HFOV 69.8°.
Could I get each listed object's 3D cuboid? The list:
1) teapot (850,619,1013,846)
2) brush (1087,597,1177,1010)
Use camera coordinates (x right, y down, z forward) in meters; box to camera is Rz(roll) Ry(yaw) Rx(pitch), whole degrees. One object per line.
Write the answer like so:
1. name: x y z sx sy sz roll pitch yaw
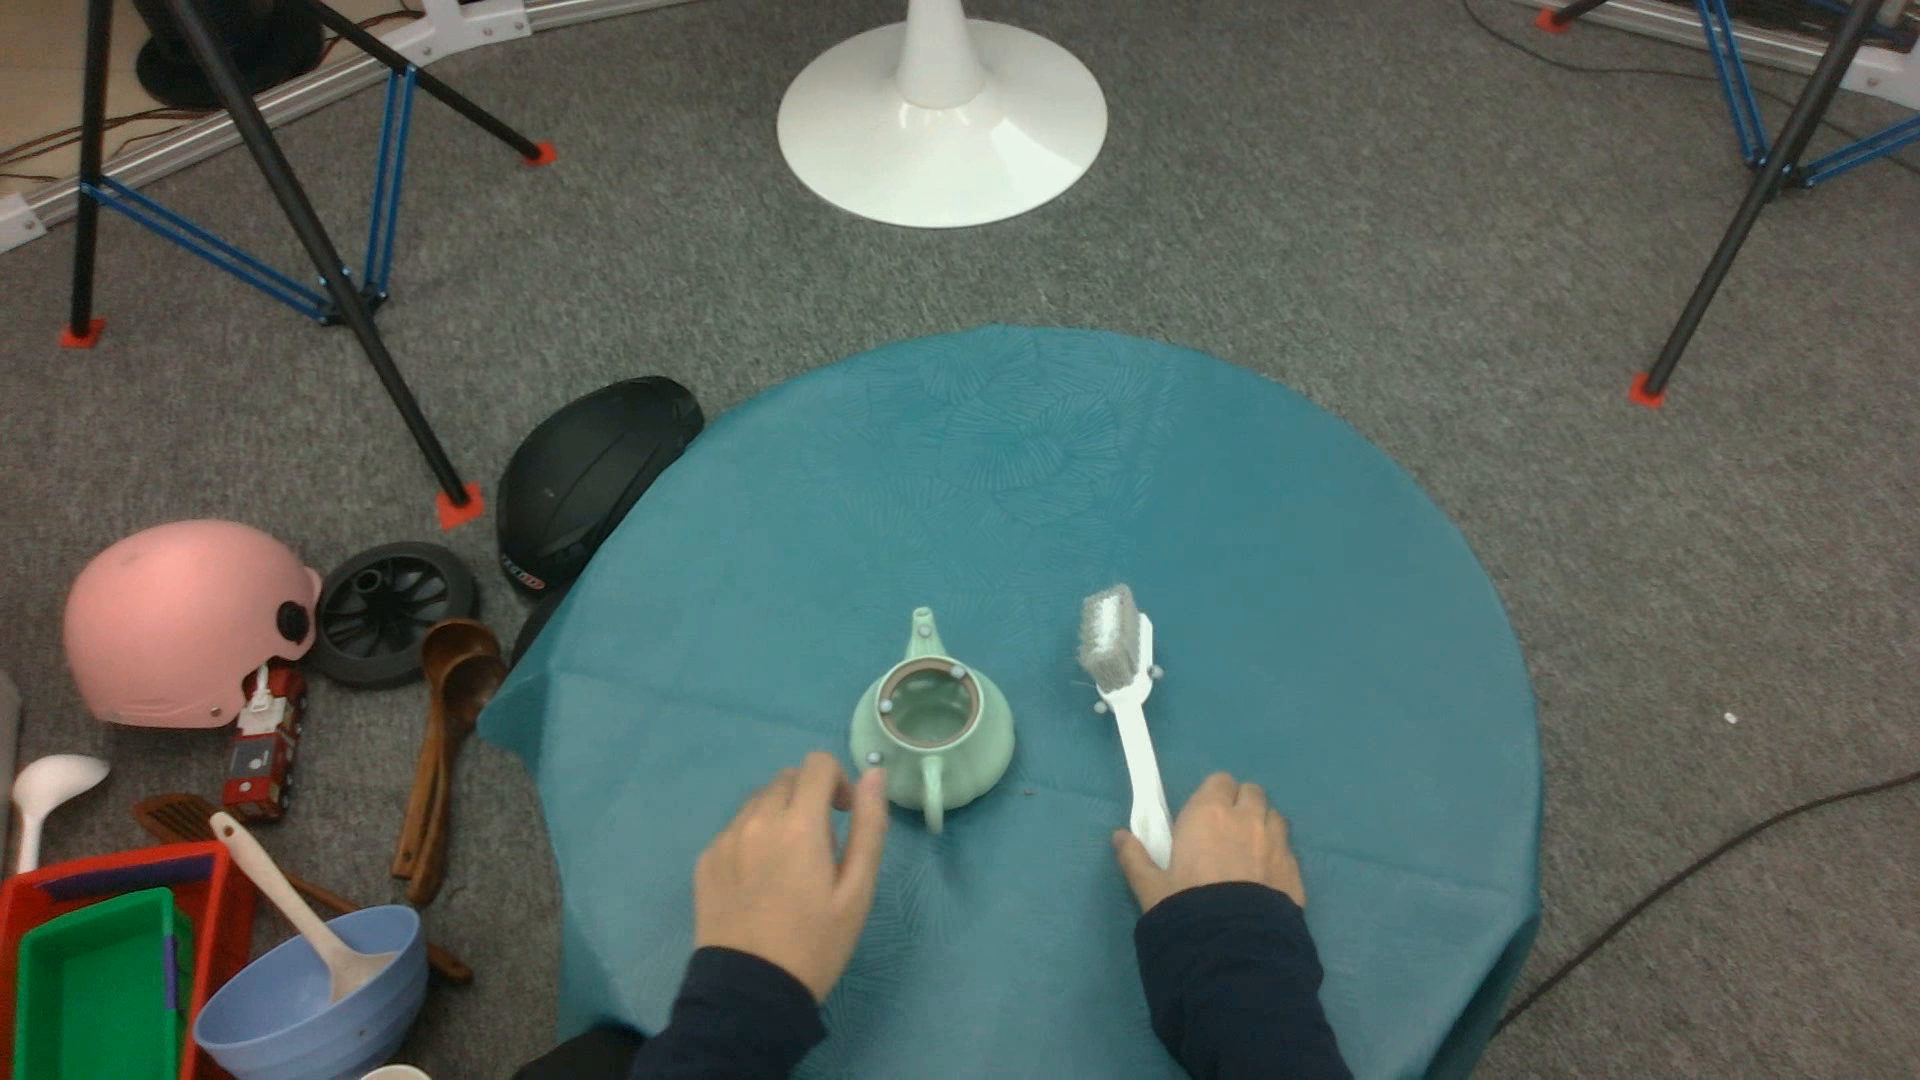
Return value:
1. teapot: -0.016 0.117 0.800 0.096 0.061 0.137 -4 53 -4
2. brush: 0.097 0.139 0.782 0.034 0.050 0.245 -14 51 19
